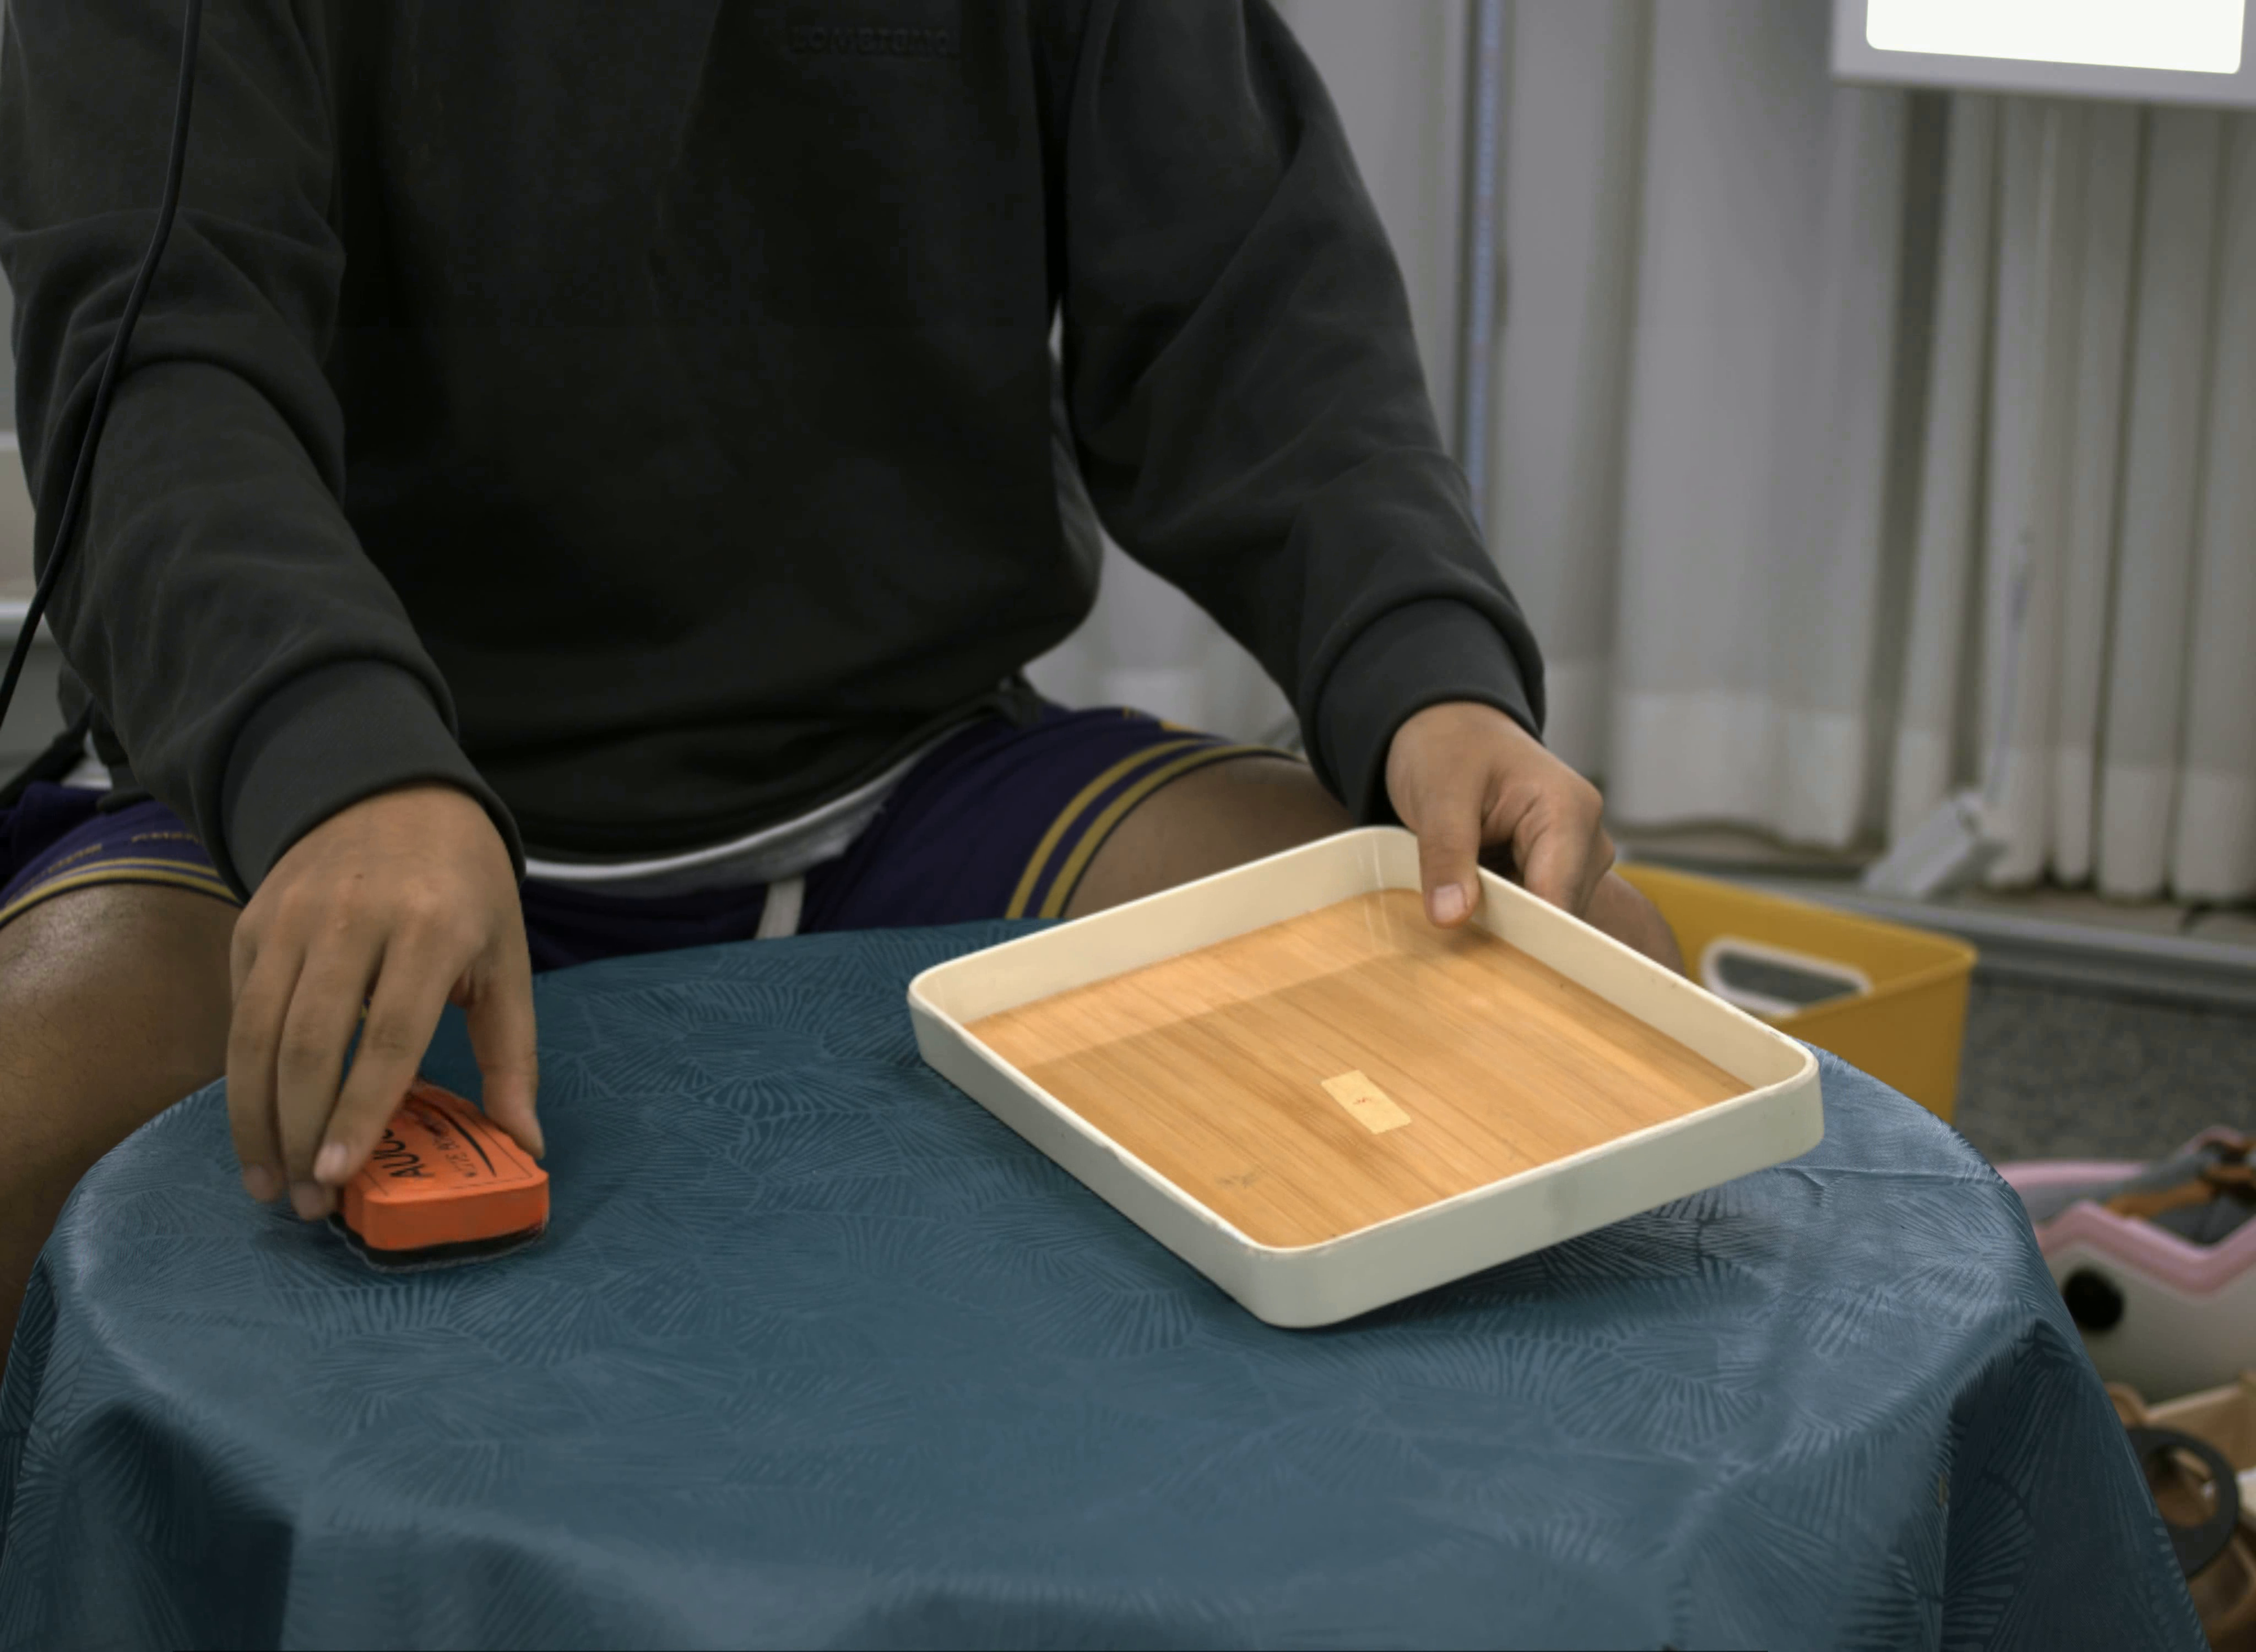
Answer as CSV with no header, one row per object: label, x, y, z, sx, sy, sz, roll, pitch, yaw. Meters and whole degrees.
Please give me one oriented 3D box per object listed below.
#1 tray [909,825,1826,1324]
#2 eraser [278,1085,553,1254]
tray,0.068,0.072,1.656,0.192,0.028,0.296,-18,21,-20
eraser,-0.217,0.103,1.594,0.059,0.023,0.107,0,13,-26
